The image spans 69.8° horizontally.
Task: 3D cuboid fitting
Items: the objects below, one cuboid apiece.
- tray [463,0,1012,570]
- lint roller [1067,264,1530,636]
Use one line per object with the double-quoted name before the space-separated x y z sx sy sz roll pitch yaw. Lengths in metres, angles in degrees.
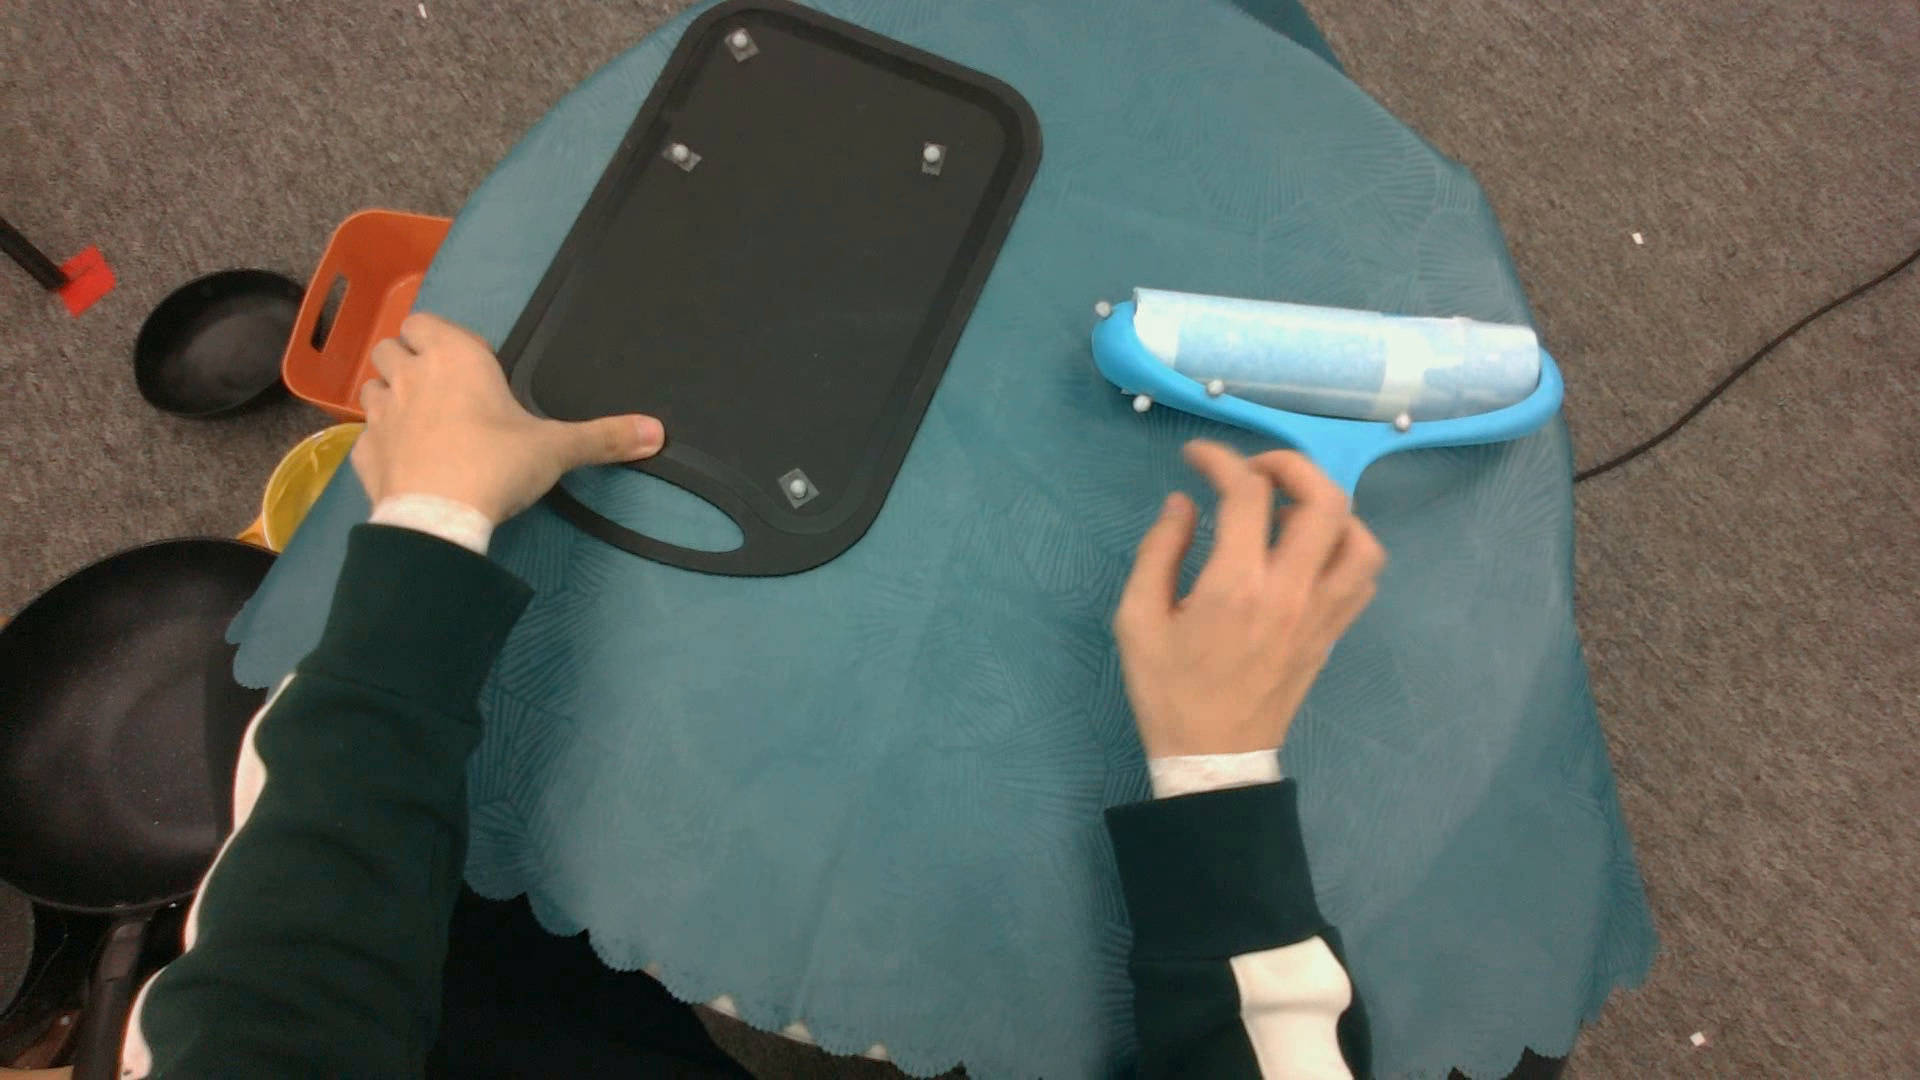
"tray" -0.112 -0.141 0.713 0.211 0.010 0.326 21 72 5
"lint roller" 0.166 -0.048 0.666 0.229 0.067 0.181 2 70 -3
